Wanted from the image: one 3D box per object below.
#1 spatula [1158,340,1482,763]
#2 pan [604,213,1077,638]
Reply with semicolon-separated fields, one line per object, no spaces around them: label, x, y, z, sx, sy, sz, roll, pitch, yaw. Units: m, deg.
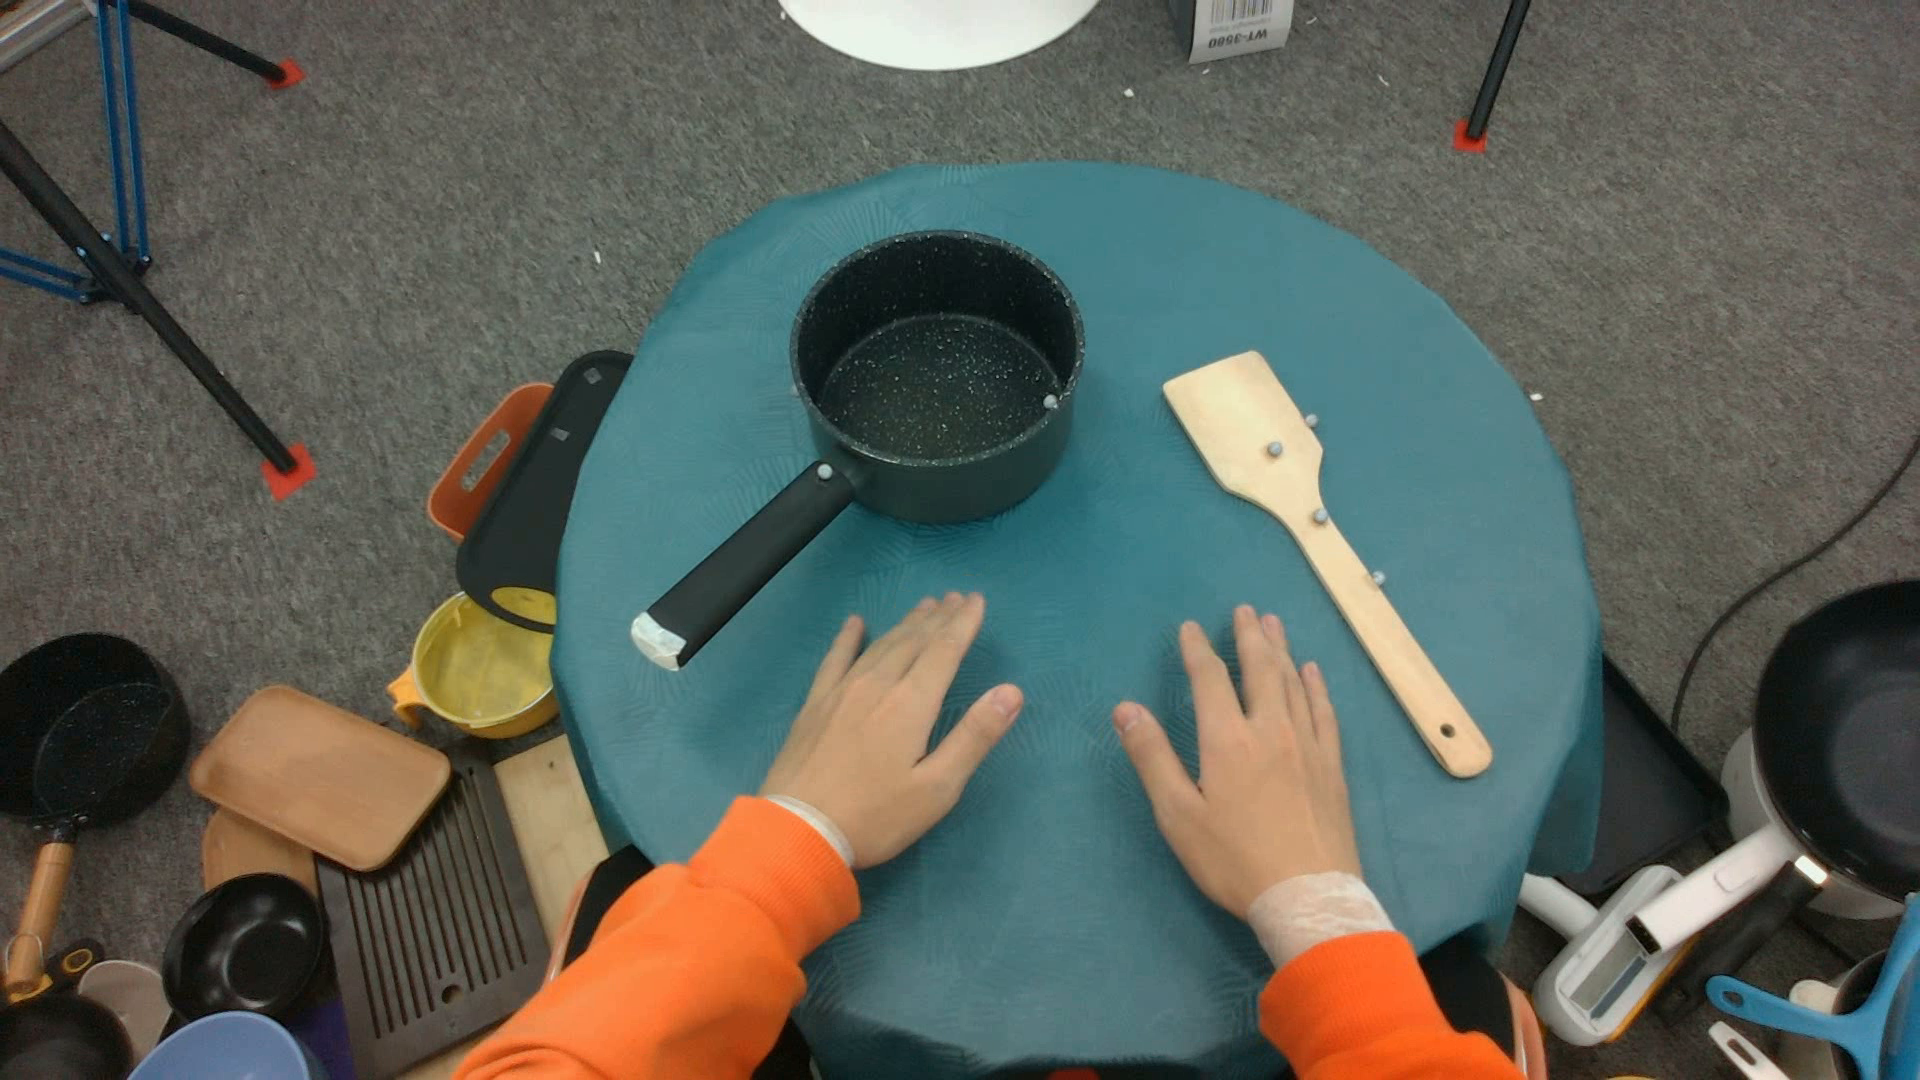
spatula;0.211;-0.001;0.795;0.072;0.010;0.294;-19;61;-14
pan;-0.067;-0.052;0.788;0.172;0.086;0.330;33;64;20
